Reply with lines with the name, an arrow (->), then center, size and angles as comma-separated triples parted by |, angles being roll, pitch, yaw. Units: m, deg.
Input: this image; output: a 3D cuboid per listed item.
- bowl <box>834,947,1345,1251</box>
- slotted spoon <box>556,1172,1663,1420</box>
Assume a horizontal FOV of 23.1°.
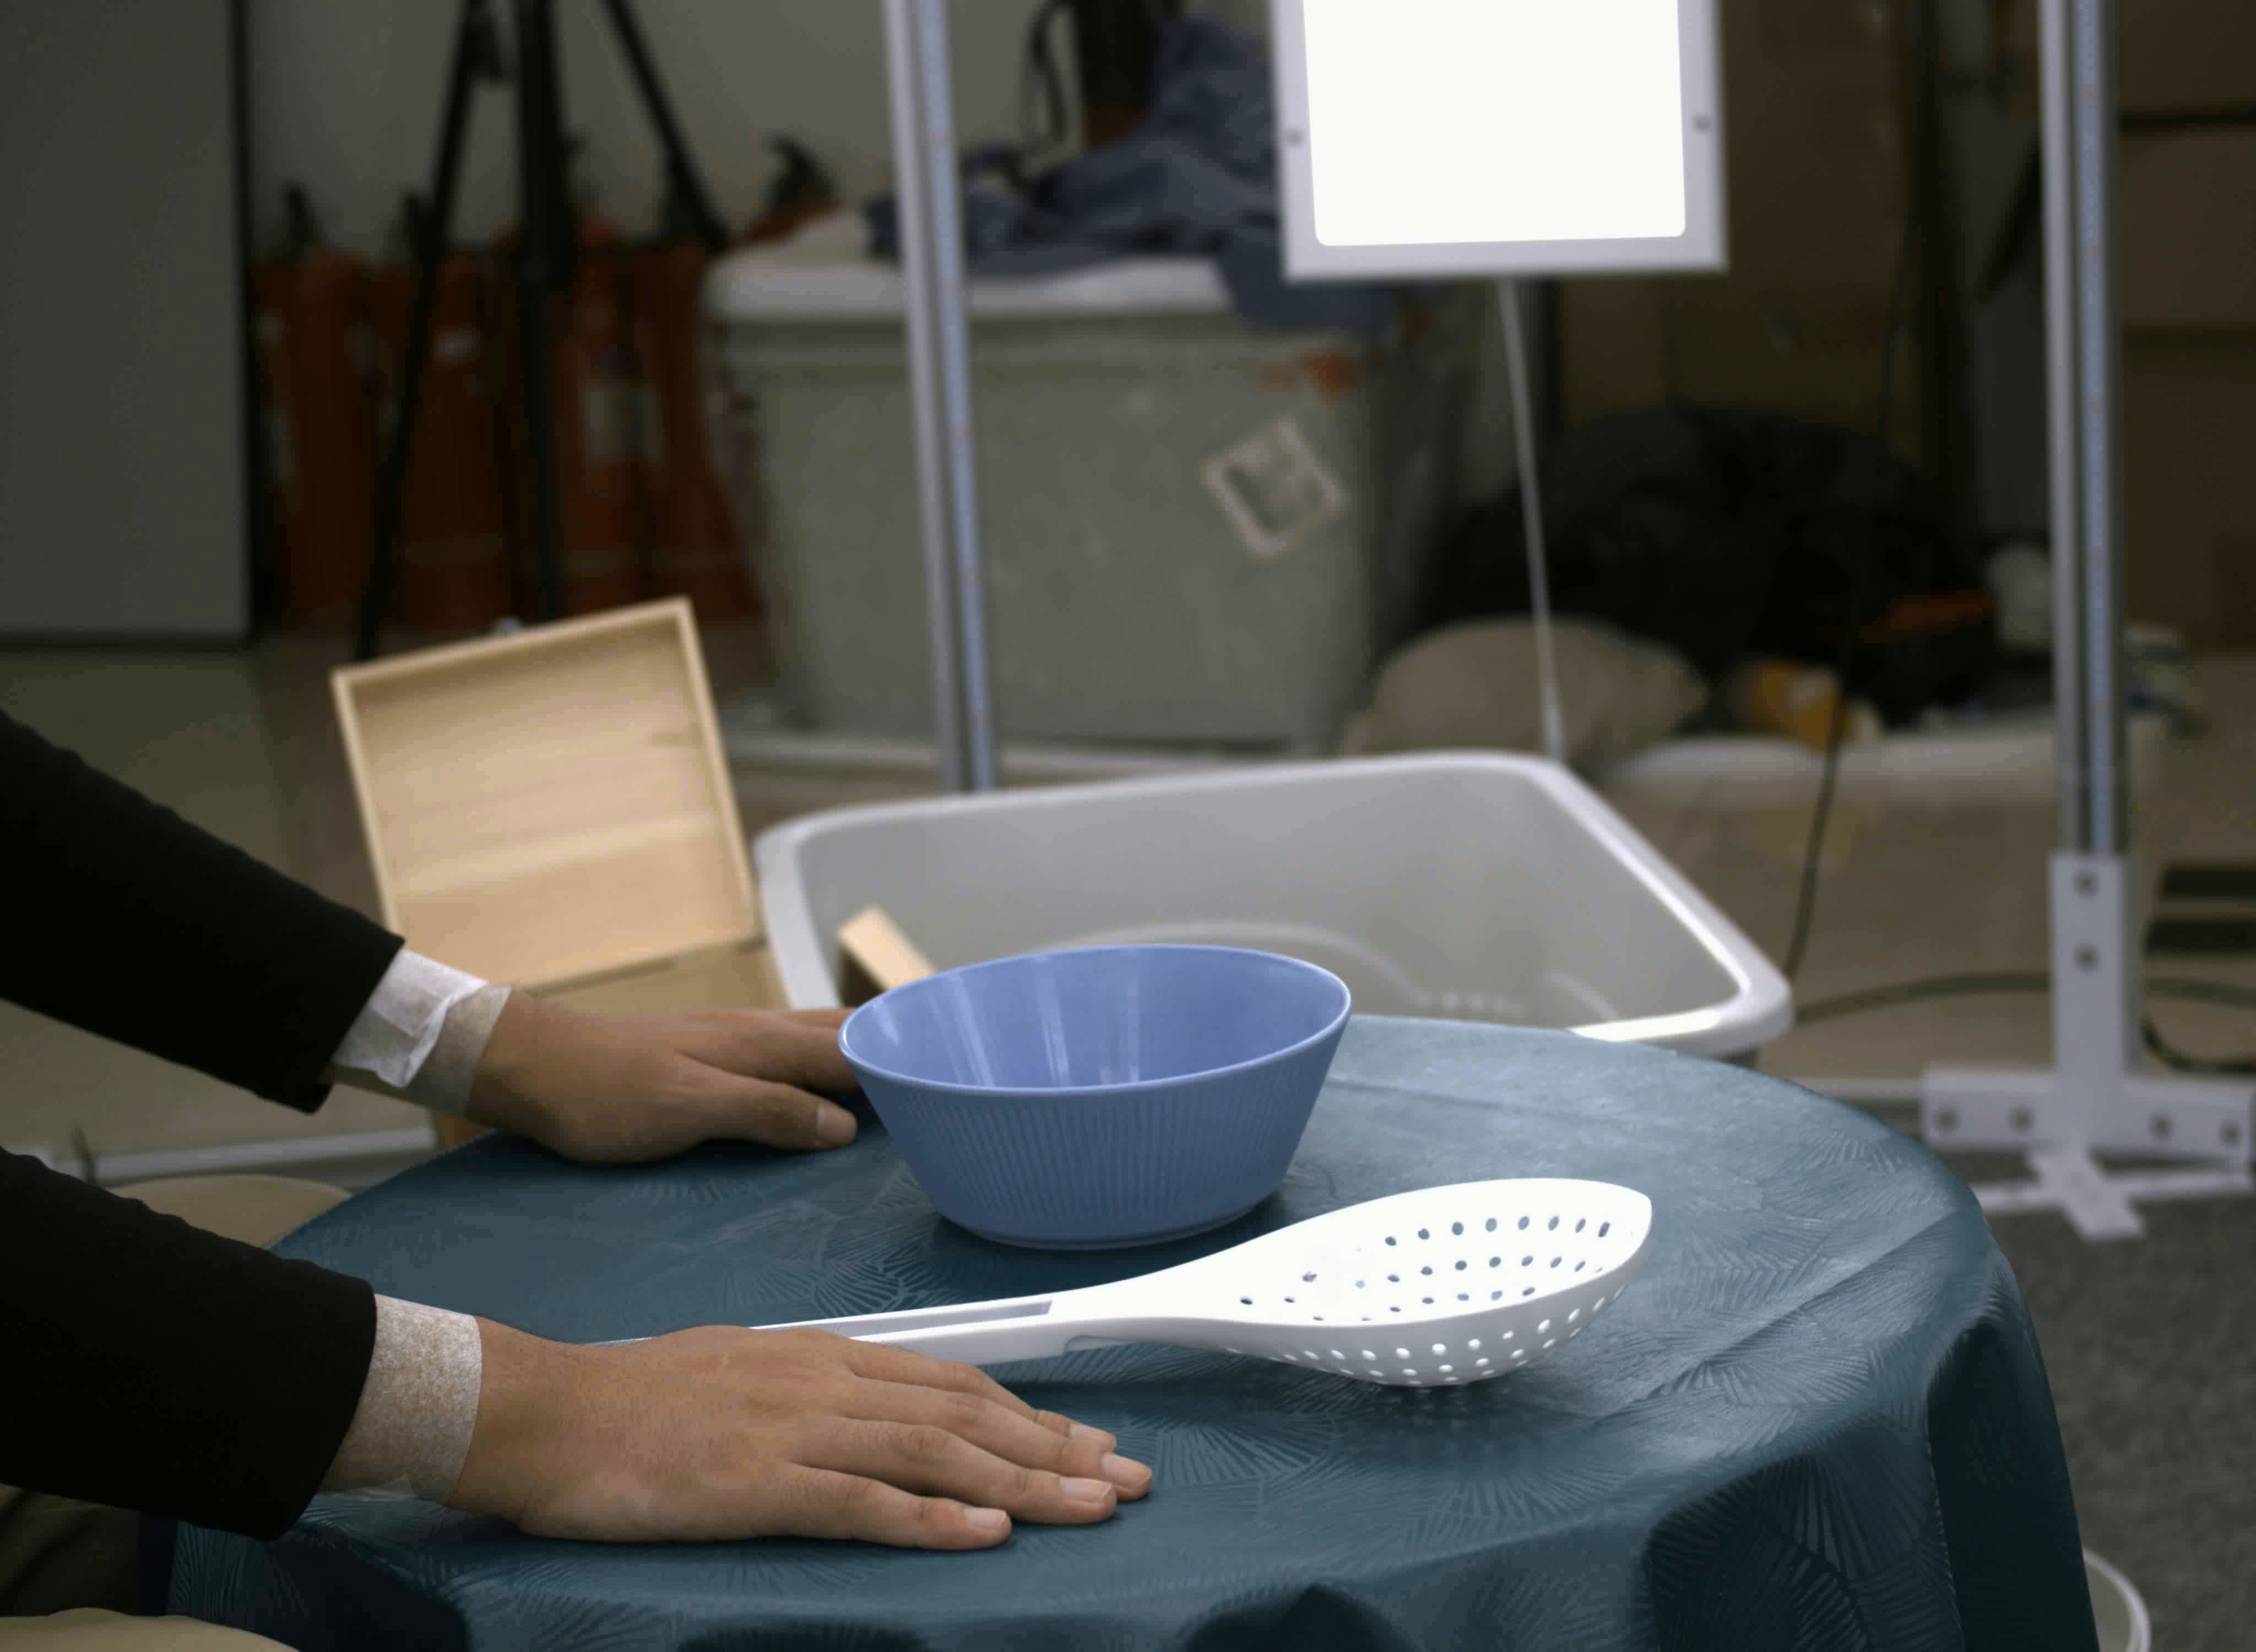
bowl -> -0.010, 0.096, 1.882 | 0.175, 0.070, 0.176 | -6, 14, 0
slotted spoon -> -0.007, 0.151, 1.703 | 0.351, 0.046, 0.135 | -4, 14, 9
